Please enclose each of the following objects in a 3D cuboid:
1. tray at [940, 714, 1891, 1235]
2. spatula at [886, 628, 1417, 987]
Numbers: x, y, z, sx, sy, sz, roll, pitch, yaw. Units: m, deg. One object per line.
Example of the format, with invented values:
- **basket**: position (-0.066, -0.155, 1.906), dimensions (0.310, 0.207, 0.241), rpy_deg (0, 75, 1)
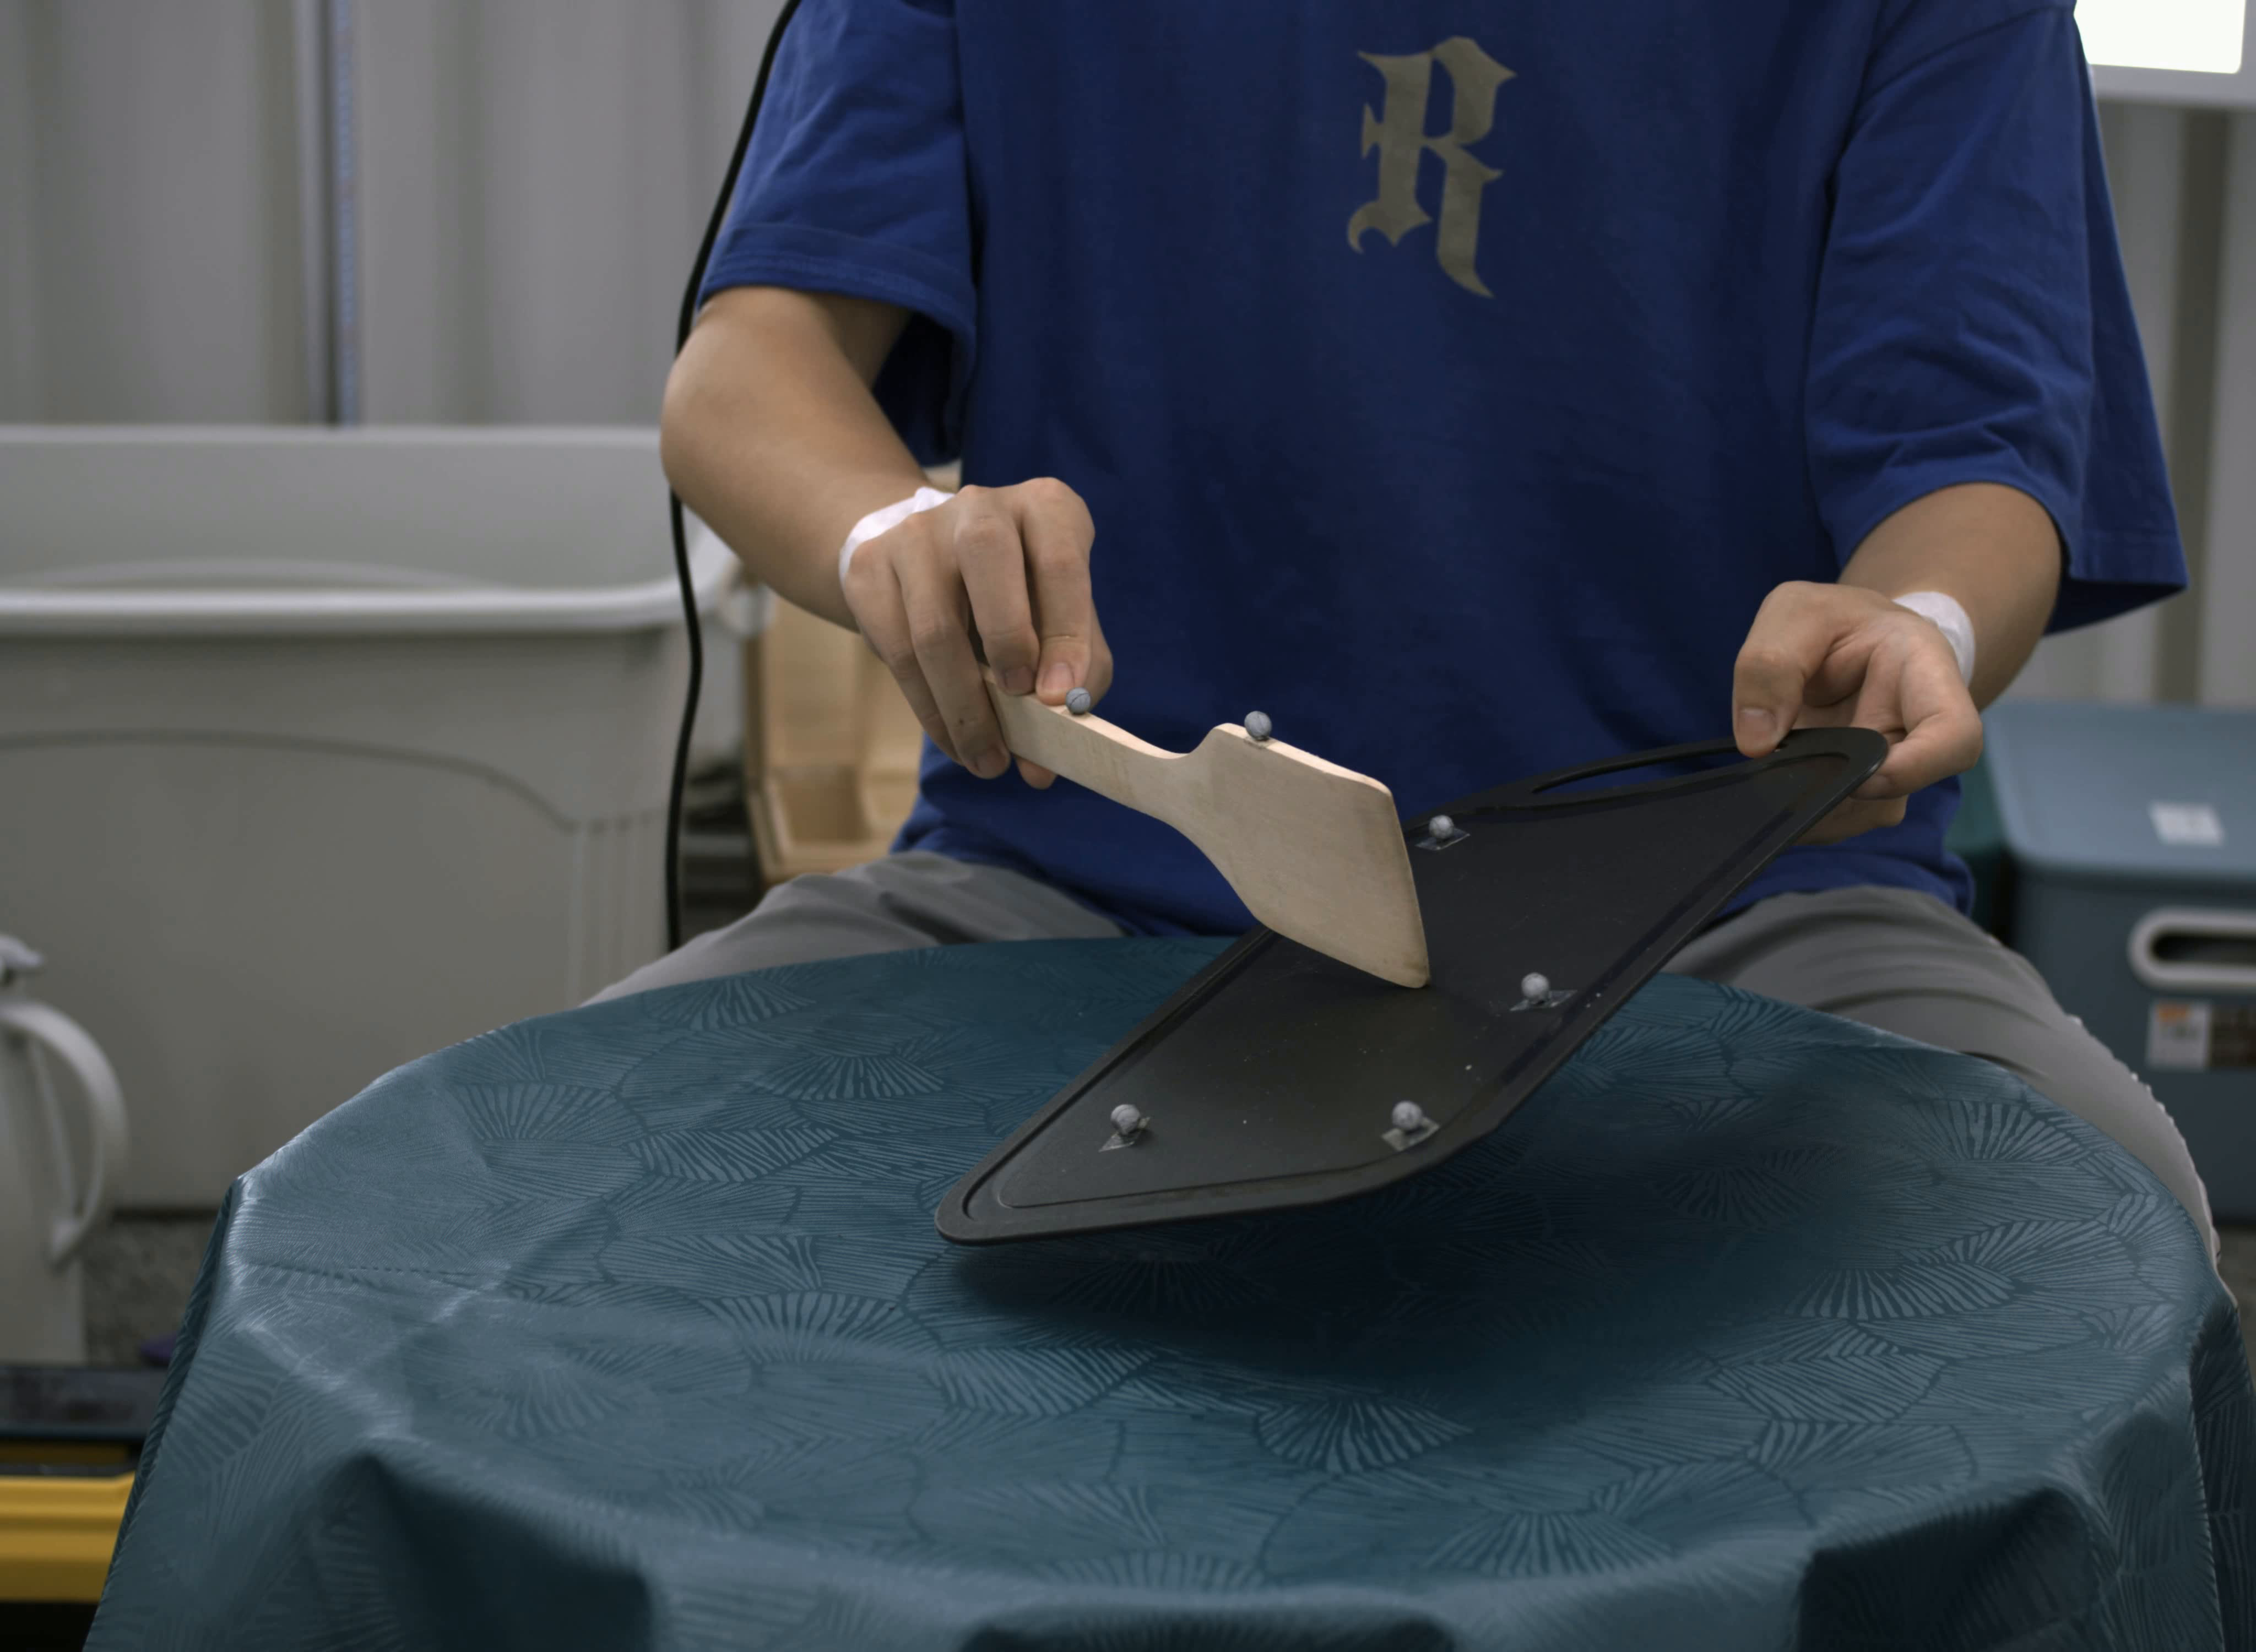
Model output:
- **tray**: position (0.093, 0.038, 1.589), dimensions (0.209, 0.010, 0.325), rpy_deg (-10, 19, 42)
- **spatula**: position (-0.001, -0.019, 1.664), dimensions (0.010, 0.073, 0.289), rpy_deg (-28, 29, -24)
